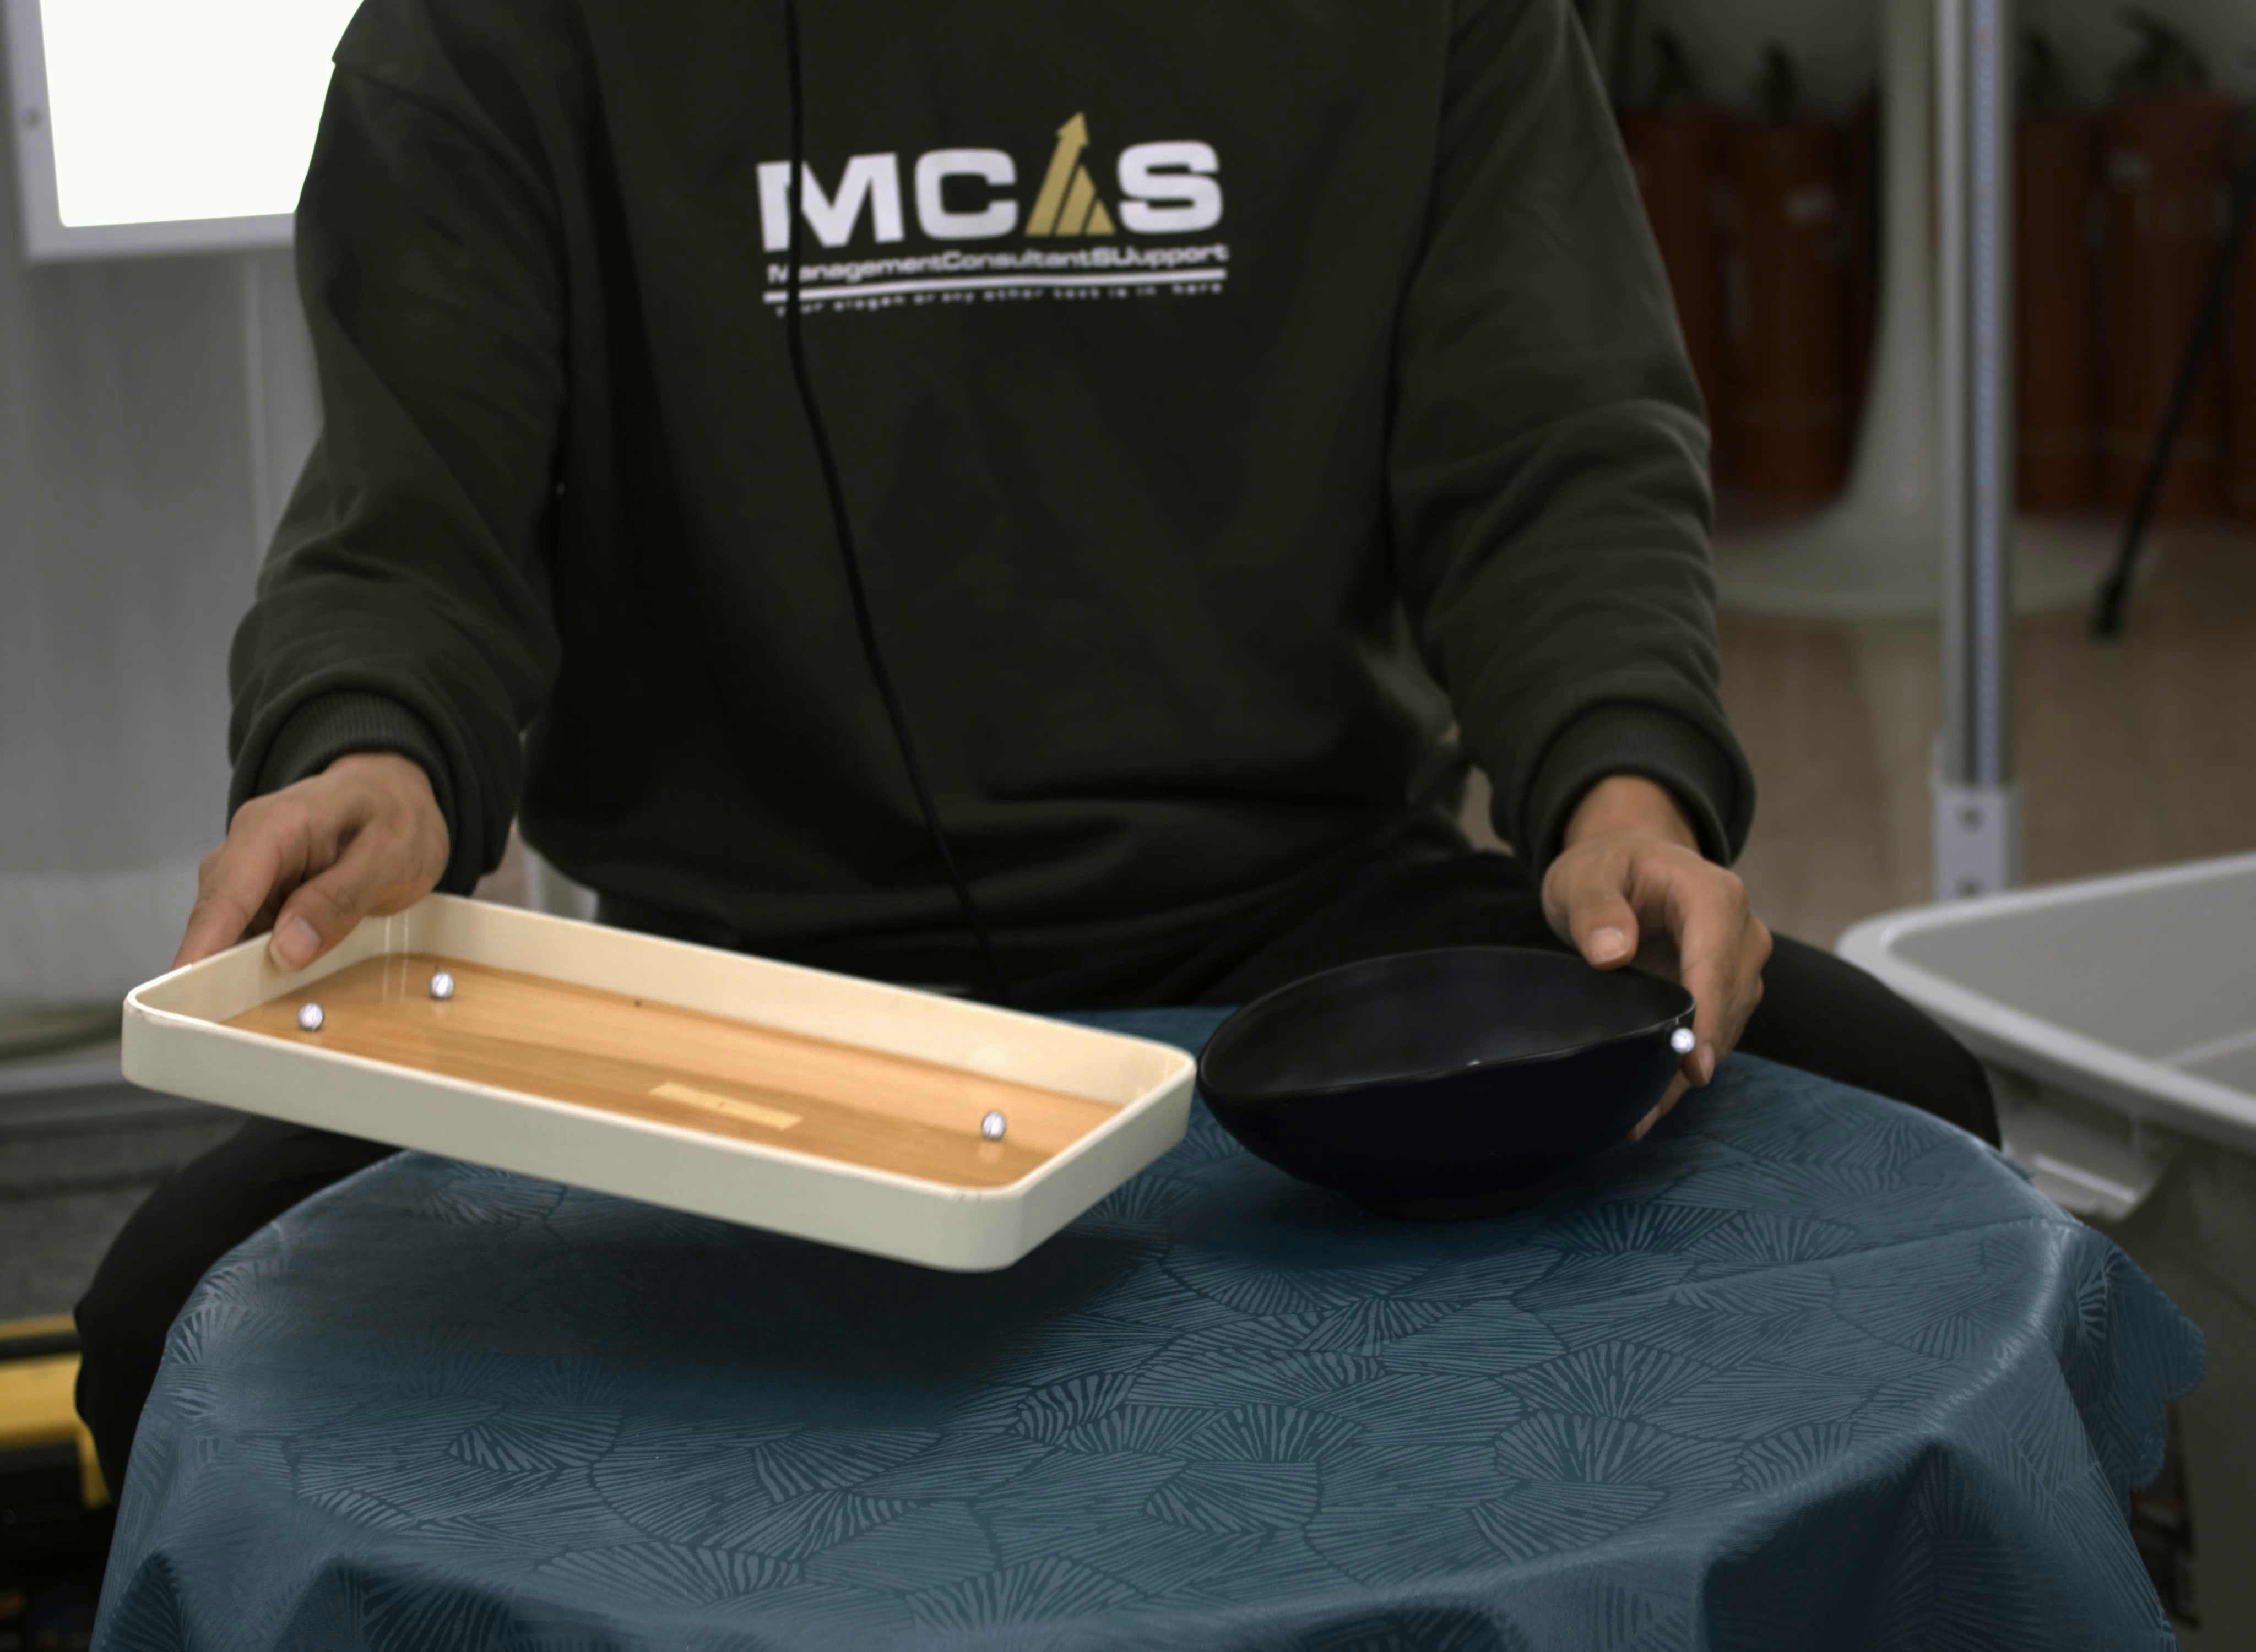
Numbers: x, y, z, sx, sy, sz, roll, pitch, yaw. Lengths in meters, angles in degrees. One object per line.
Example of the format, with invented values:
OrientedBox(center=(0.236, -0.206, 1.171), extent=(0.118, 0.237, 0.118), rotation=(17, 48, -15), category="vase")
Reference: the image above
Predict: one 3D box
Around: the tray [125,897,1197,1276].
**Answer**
OrientedBox(center=(-0.143, 0.078, 1.692), extent=(0.300, 0.028, 0.189), rotation=(11, 14, 20), category="tray")

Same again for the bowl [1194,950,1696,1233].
OrientedBox(center=(0.106, 0.091, 1.745), extent=(0.167, 0.067, 0.138), rotation=(-11, 13, -19), category="bowl")
